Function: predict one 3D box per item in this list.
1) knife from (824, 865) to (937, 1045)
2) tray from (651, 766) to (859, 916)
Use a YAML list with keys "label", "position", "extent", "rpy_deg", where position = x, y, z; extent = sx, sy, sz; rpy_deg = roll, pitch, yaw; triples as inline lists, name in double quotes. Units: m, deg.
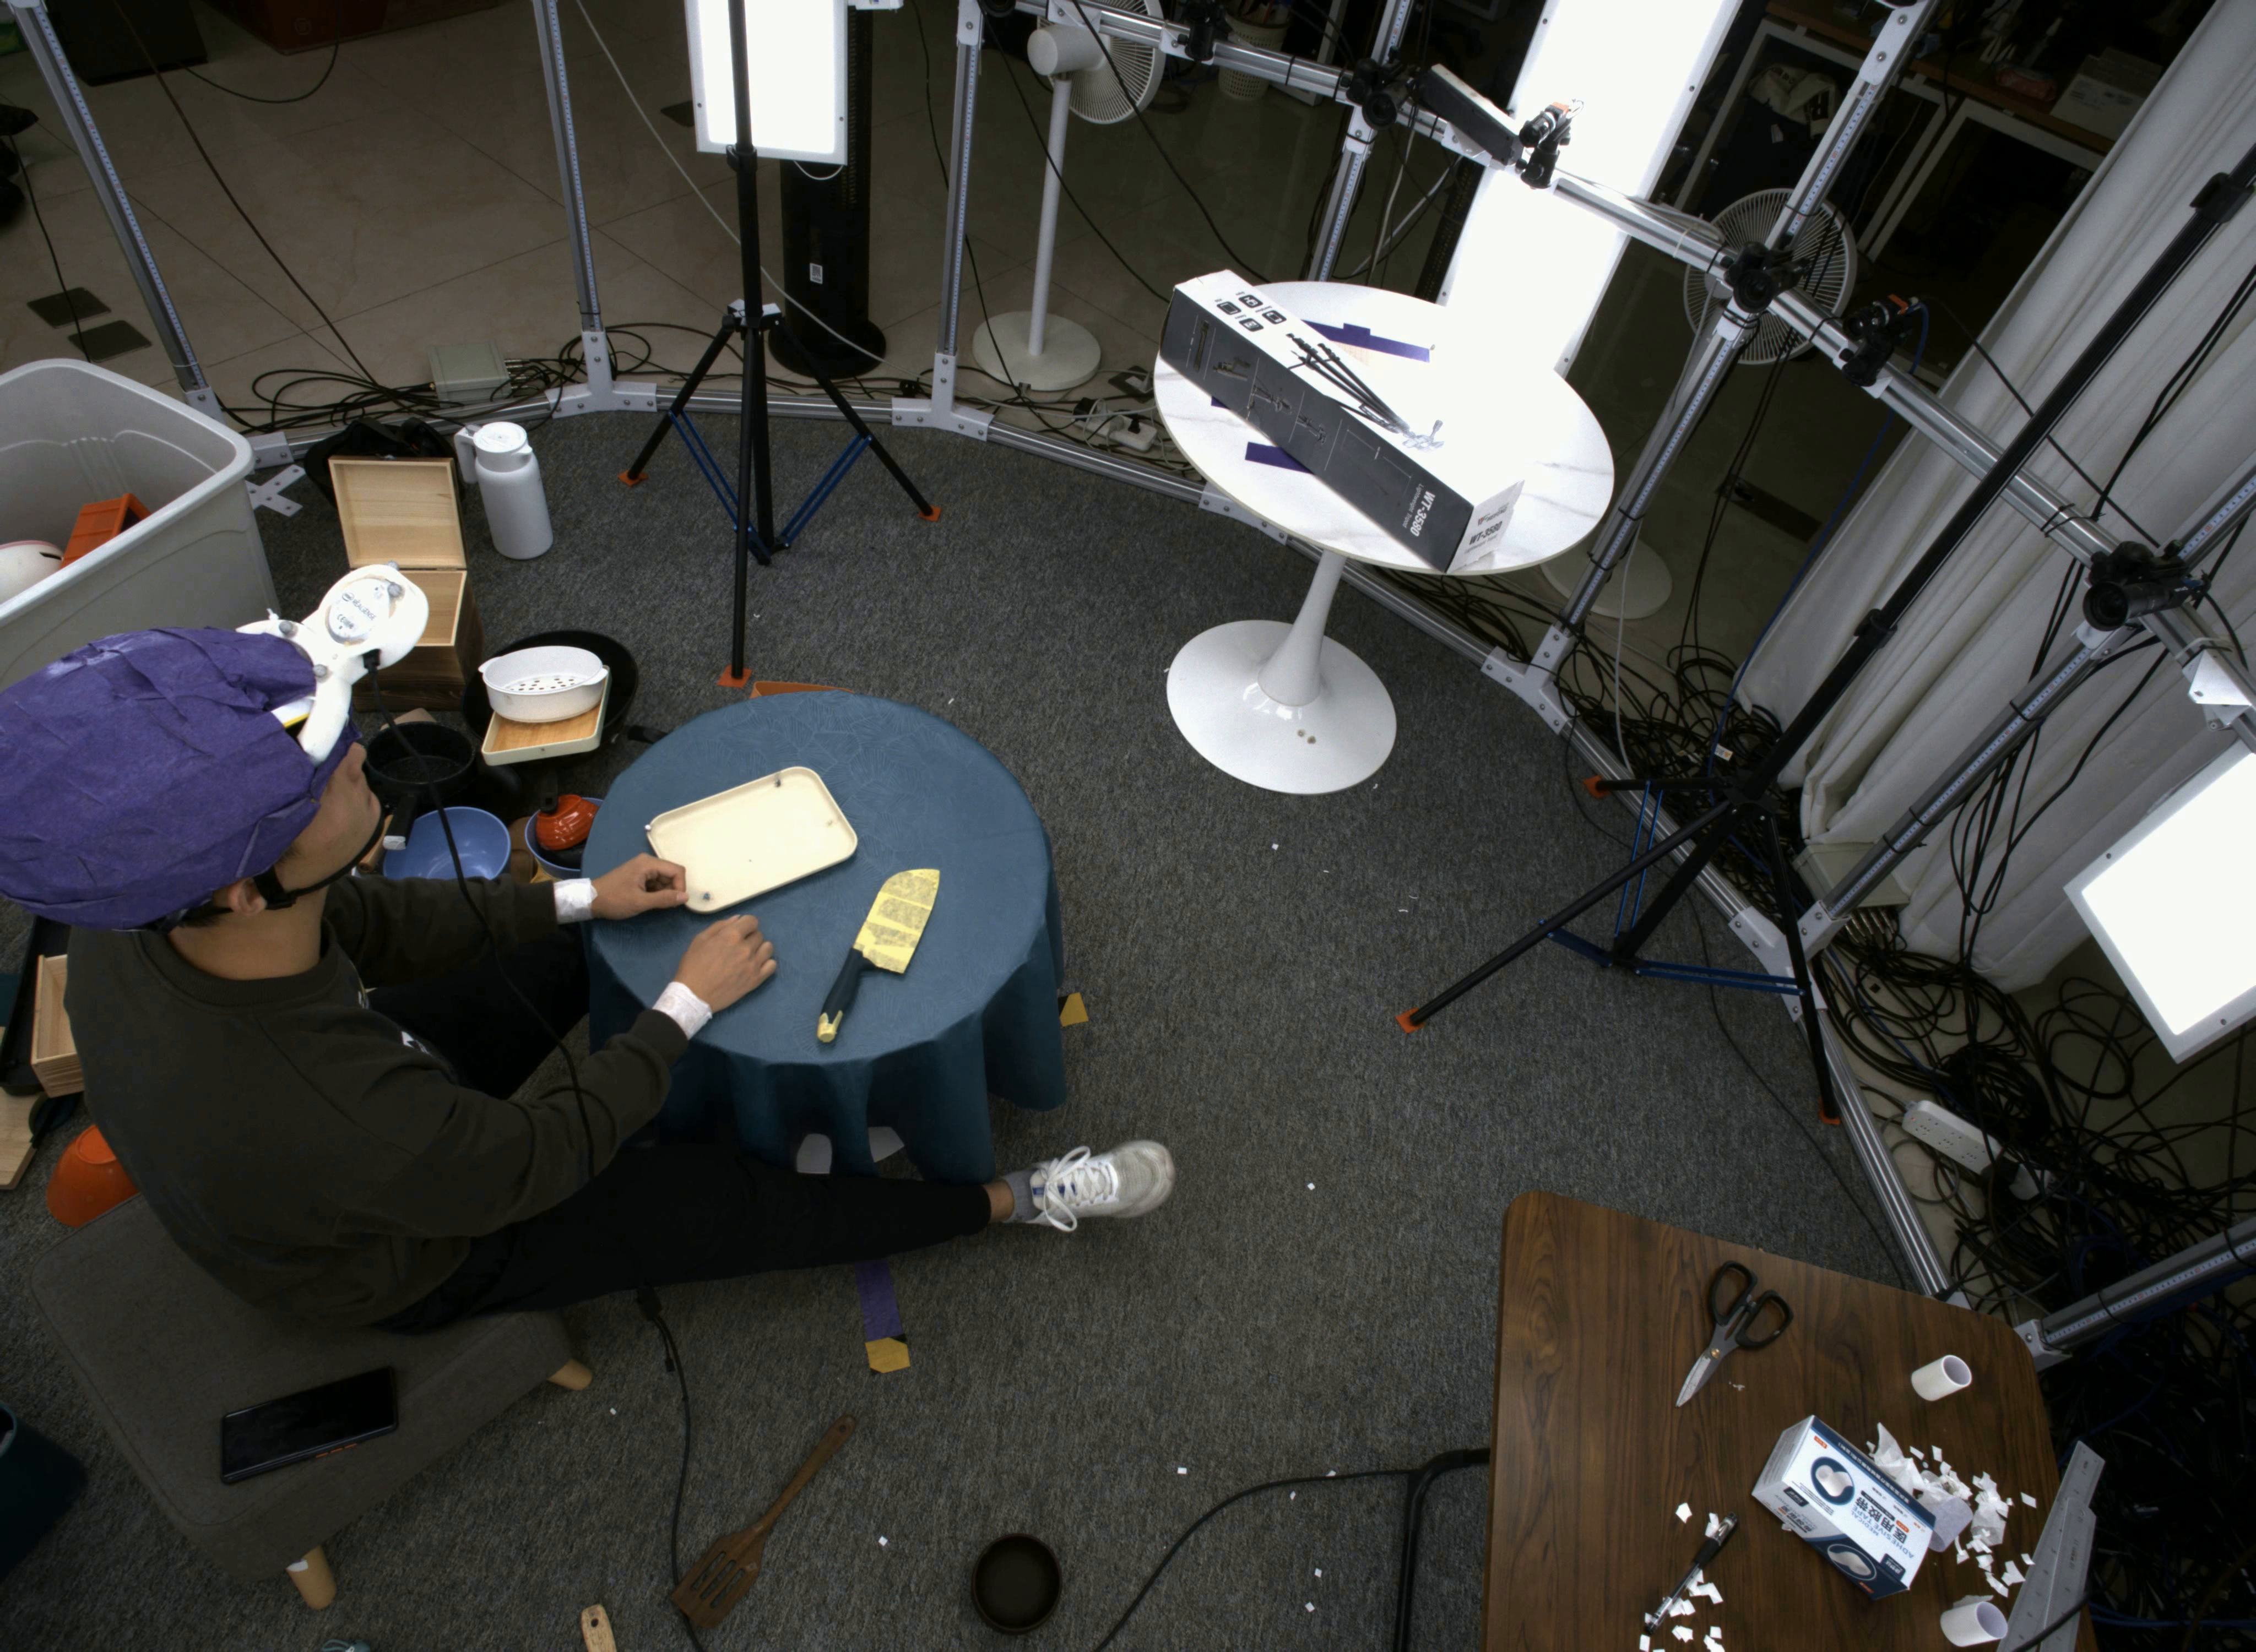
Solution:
- label: "knife"
  position: [-0.309, 0.155, 1.640]
  extent: [0.080, 0.028, 0.286]
  rpy_deg: [19, 51, 3]
- label: "tray"
  position: [-0.488, 0.016, 1.695]
  extent: [0.241, 0.018, 0.167]
  rpy_deg: [-24, 64, -28]
